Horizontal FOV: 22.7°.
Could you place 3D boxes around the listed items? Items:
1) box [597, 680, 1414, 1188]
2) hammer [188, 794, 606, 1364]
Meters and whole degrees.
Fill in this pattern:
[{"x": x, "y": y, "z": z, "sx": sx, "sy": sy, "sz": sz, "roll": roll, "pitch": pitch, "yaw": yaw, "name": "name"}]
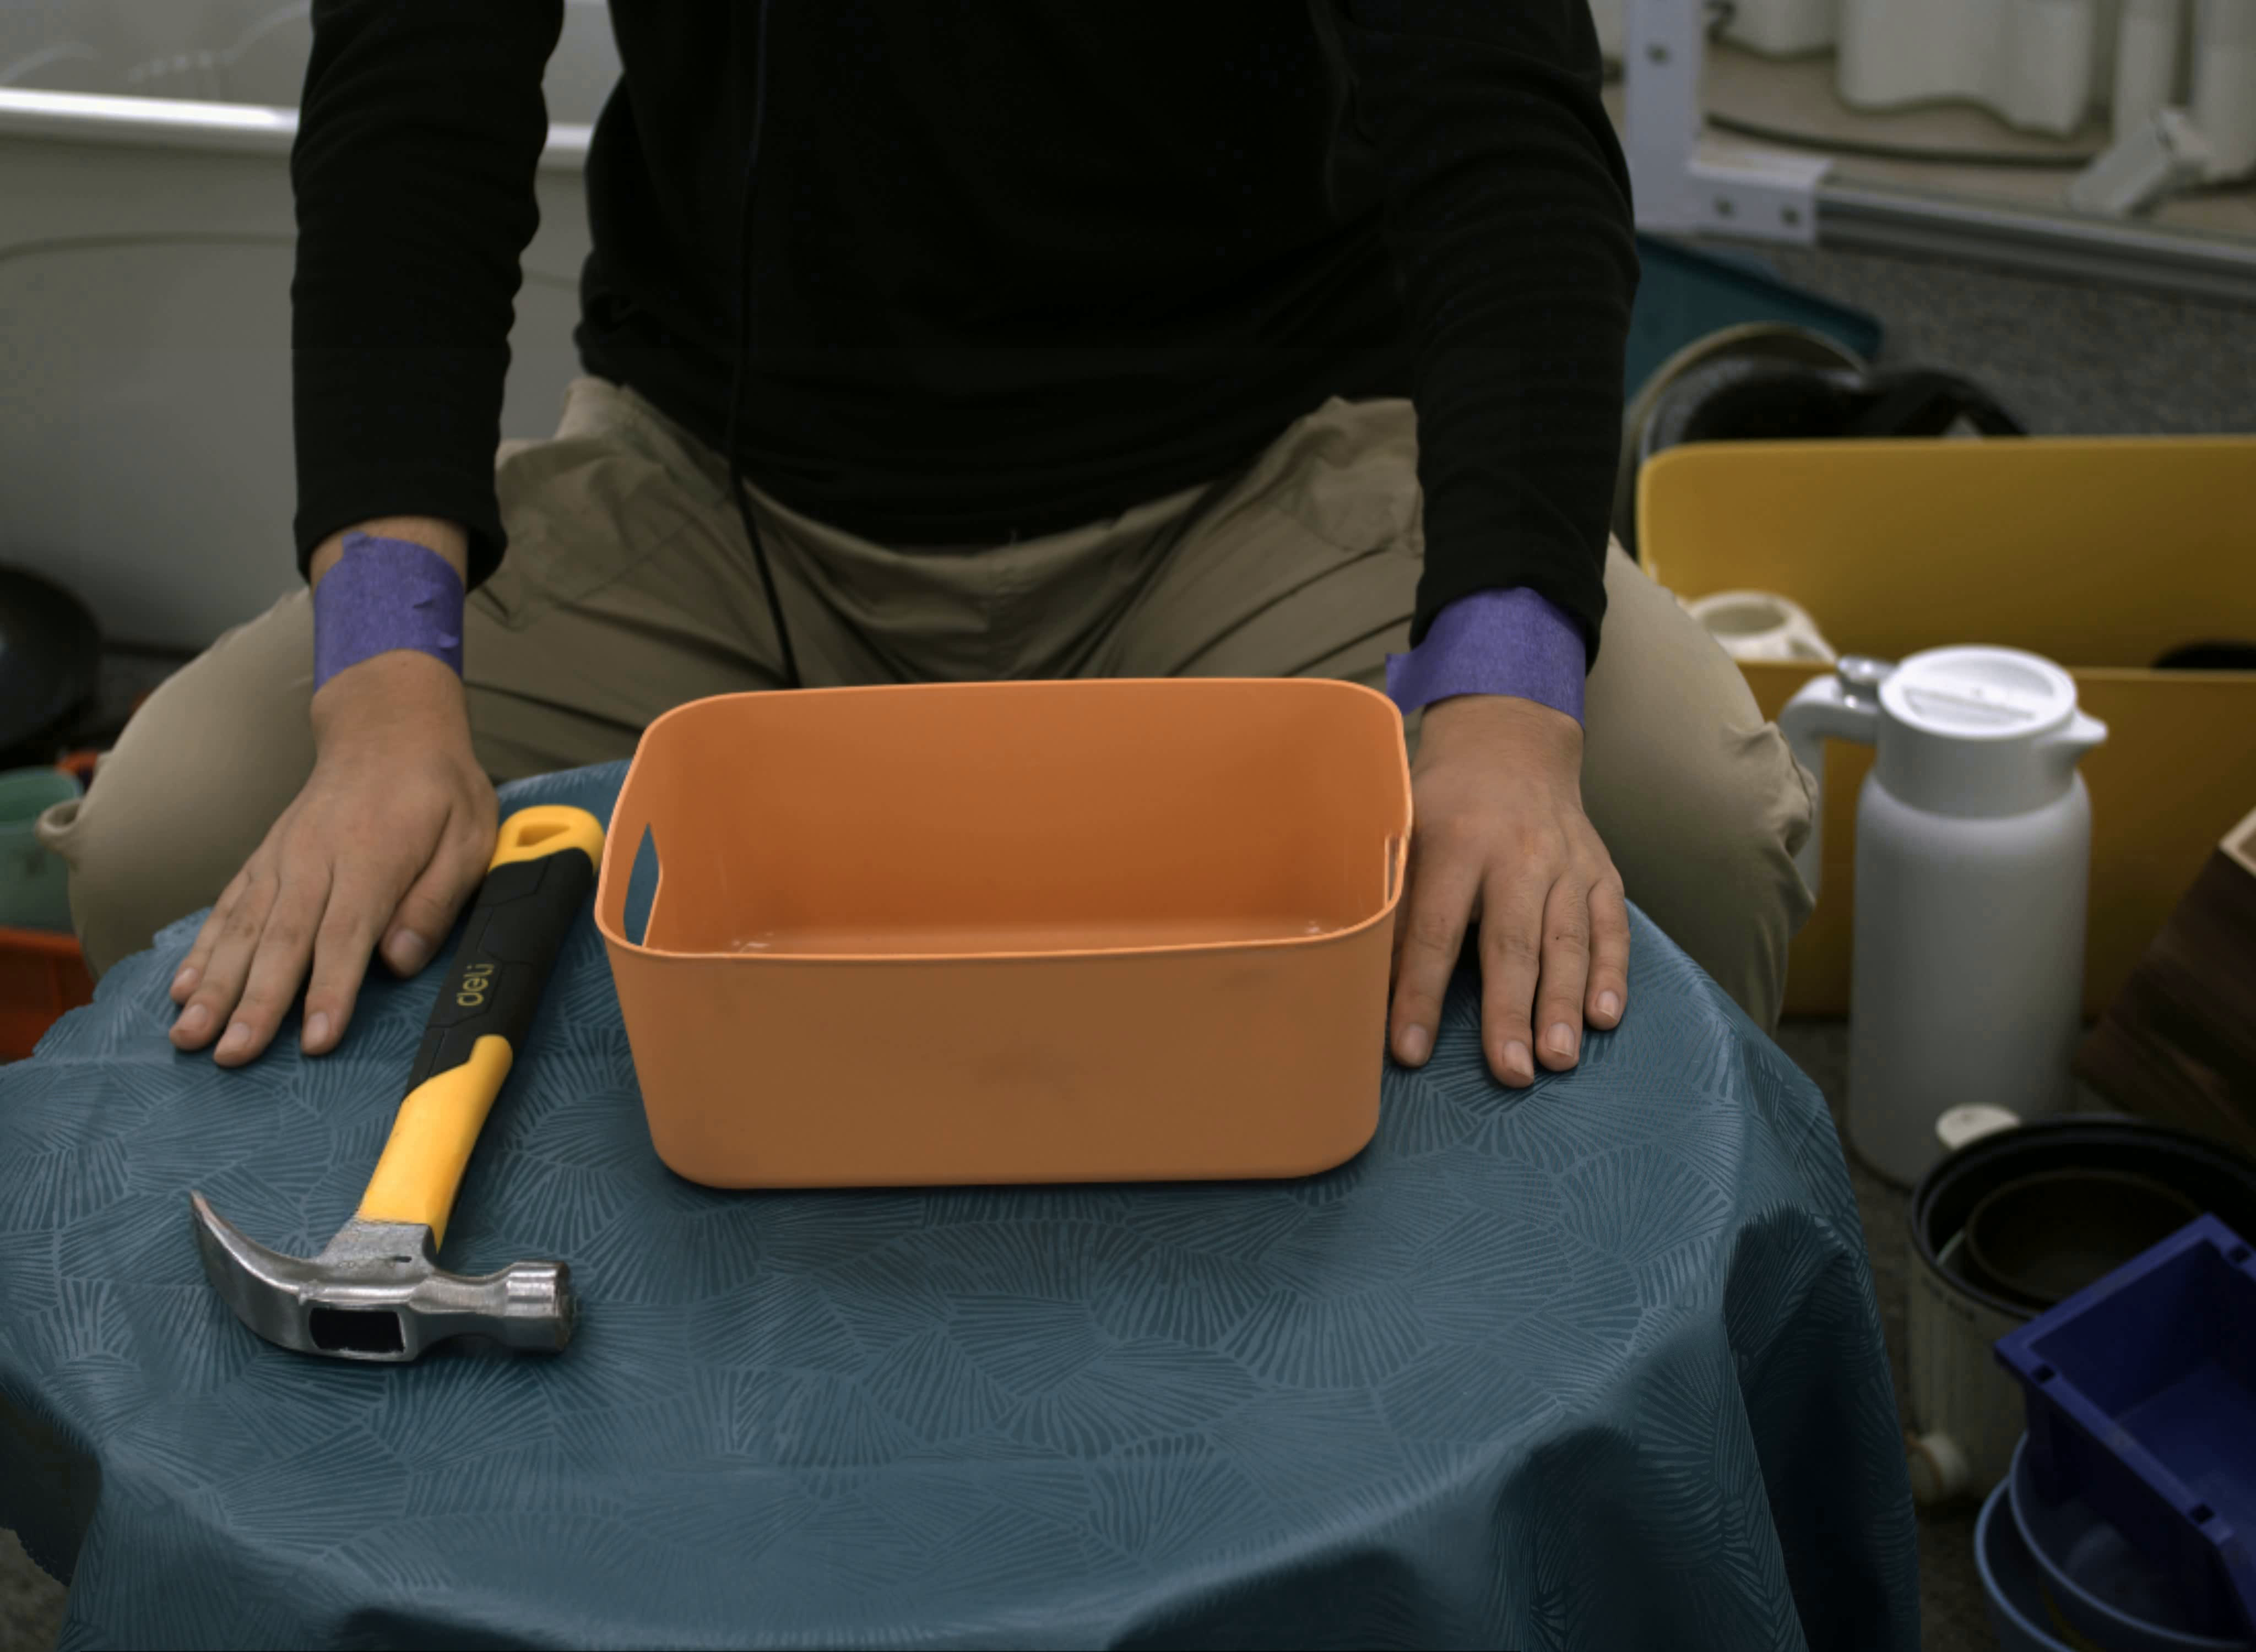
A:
[{"x": -0.038, "y": 0.038, "z": 1.914, "sx": 0.272, "sy": 0.101, "sz": 0.202, "roll": -1, "pitch": 26, "yaw": 3, "name": "box"}, {"x": -0.228, "y": 0.079, "z": 1.925, "sx": 0.130, "sy": 0.032, "sz": 0.344, "roll": 1, "pitch": 28, "yaw": 6, "name": "hammer"}]
